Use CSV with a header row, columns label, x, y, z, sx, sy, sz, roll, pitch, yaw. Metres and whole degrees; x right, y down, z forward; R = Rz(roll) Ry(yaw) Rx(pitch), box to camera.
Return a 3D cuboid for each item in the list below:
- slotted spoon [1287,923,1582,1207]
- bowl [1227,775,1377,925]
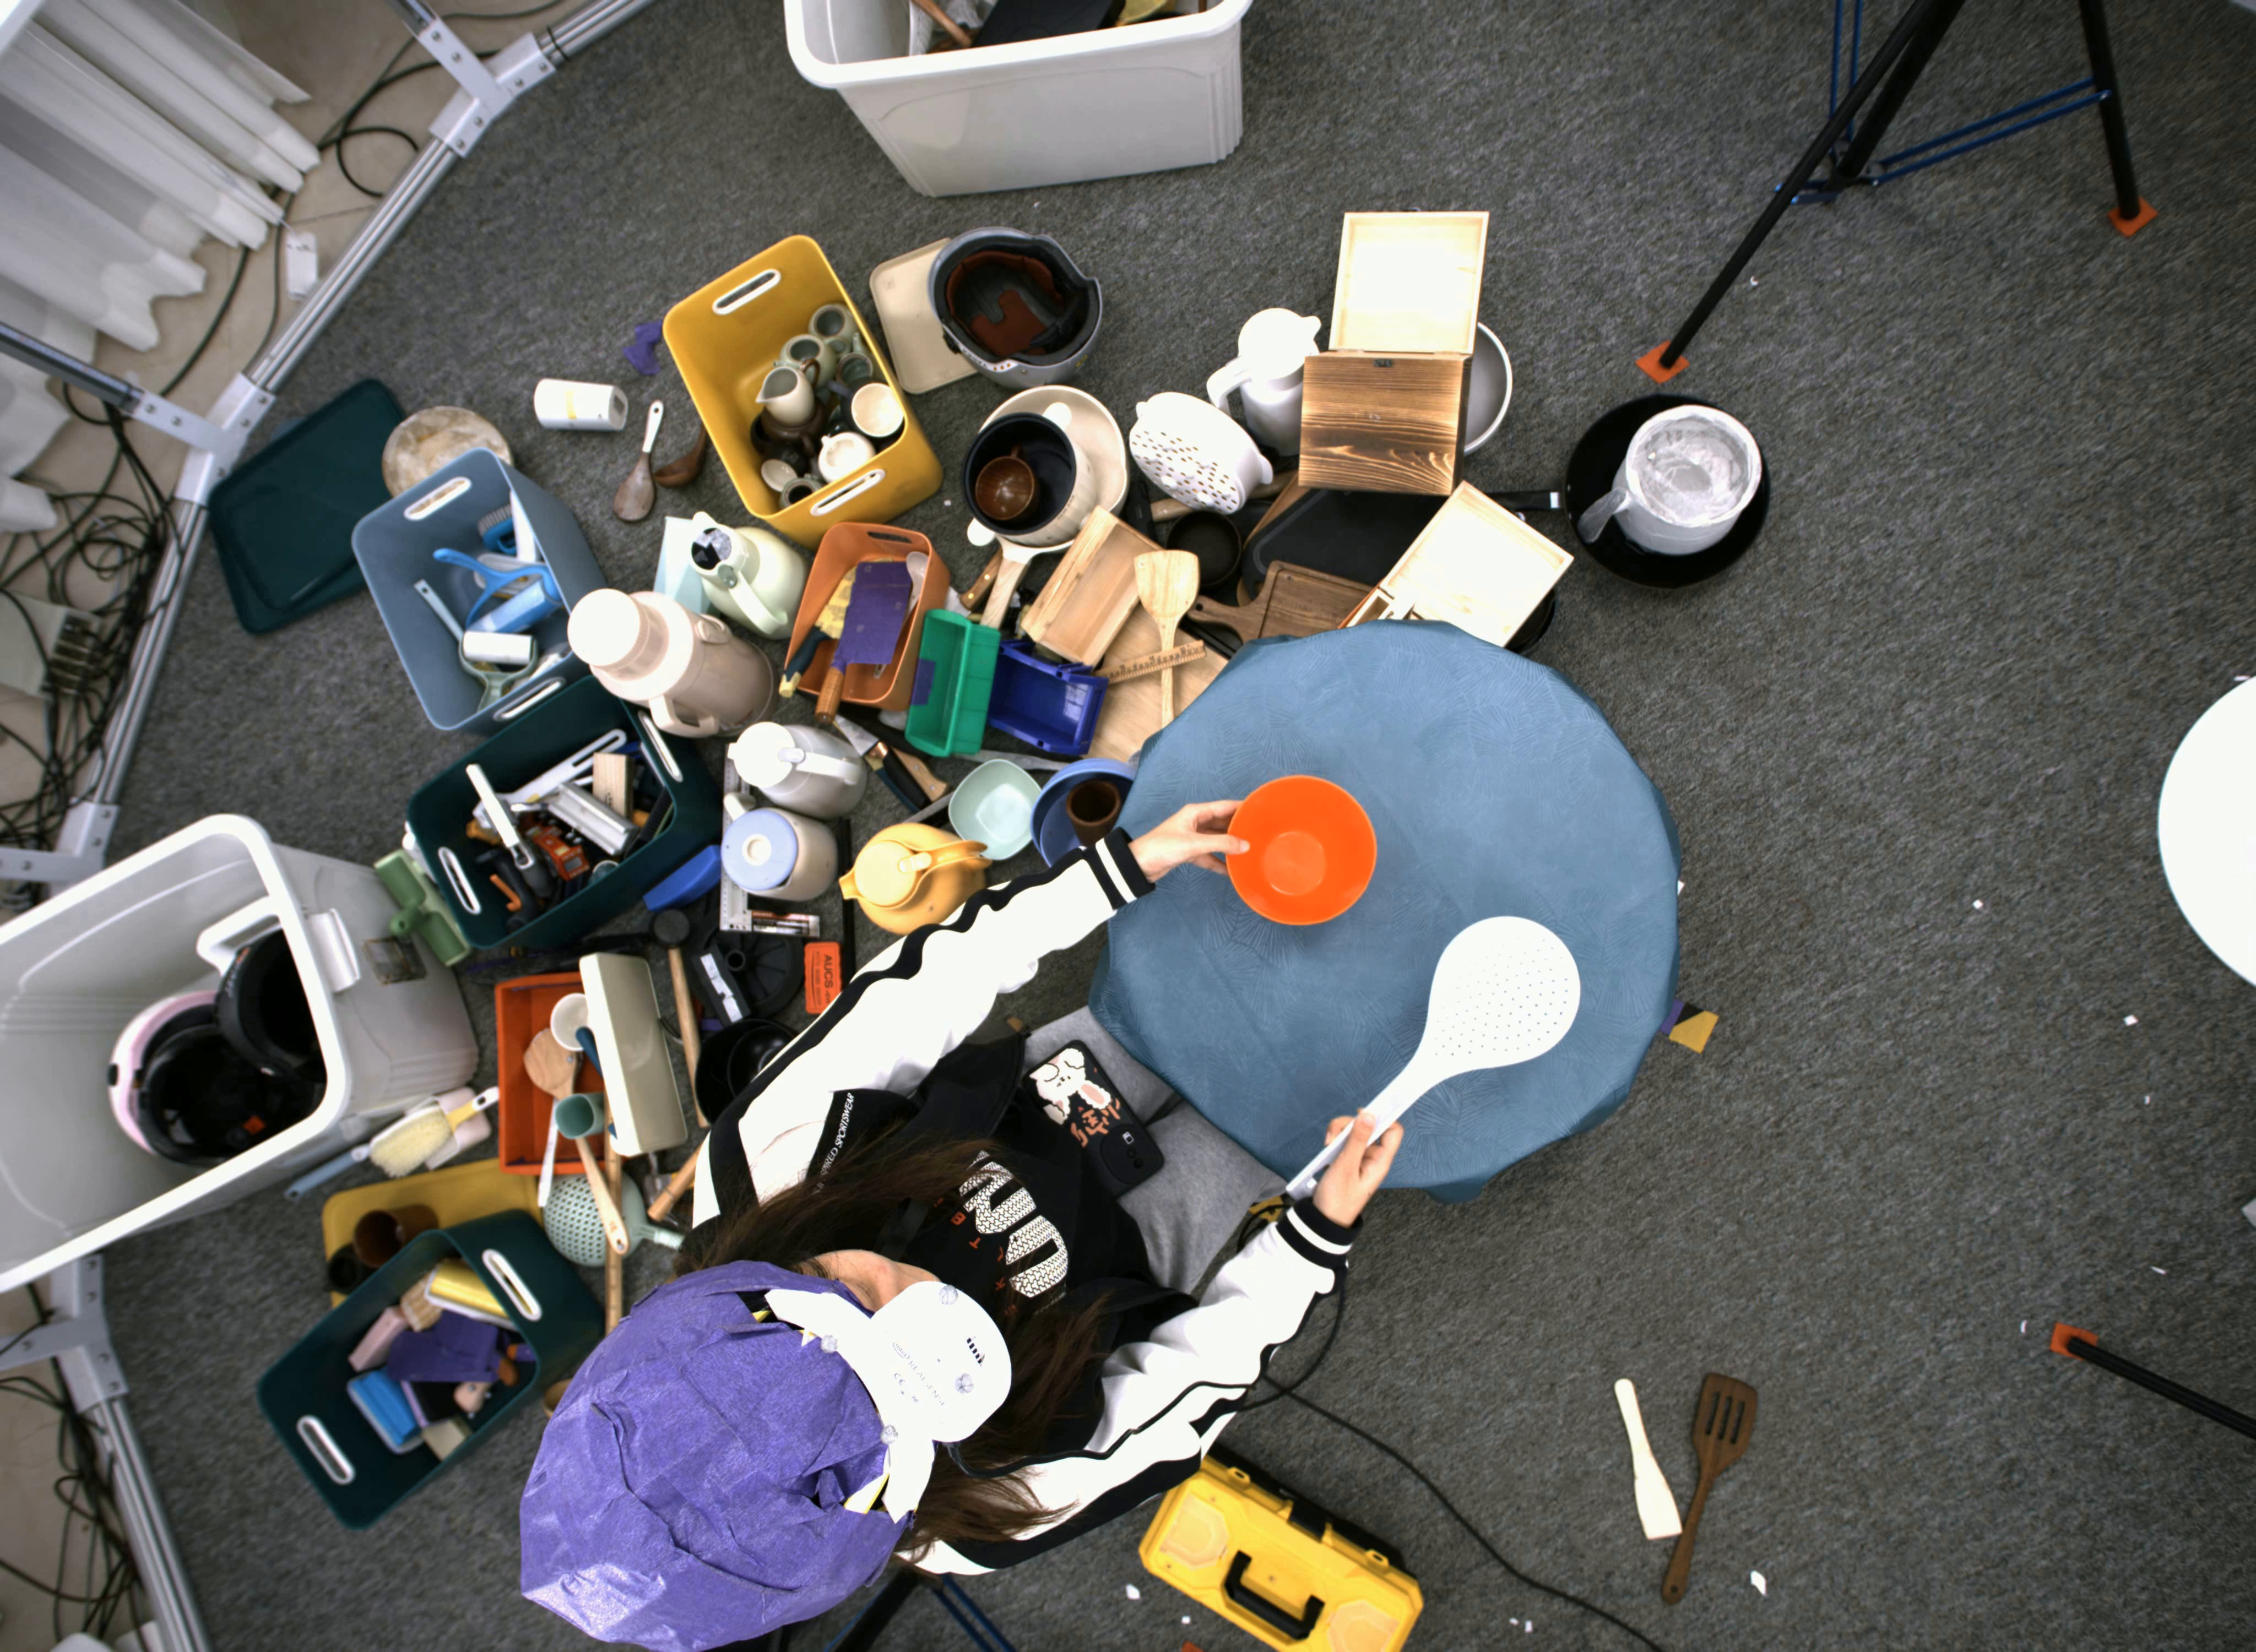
label,x,y,z,sx,sy,sz,roll,pitch,yaw
slotted spoon,0.285,0.234,1.320,0.136,0.046,0.350,45,90,1
bowl,0.173,0.025,1.400,0.148,0.104,0.148,0,91,4
